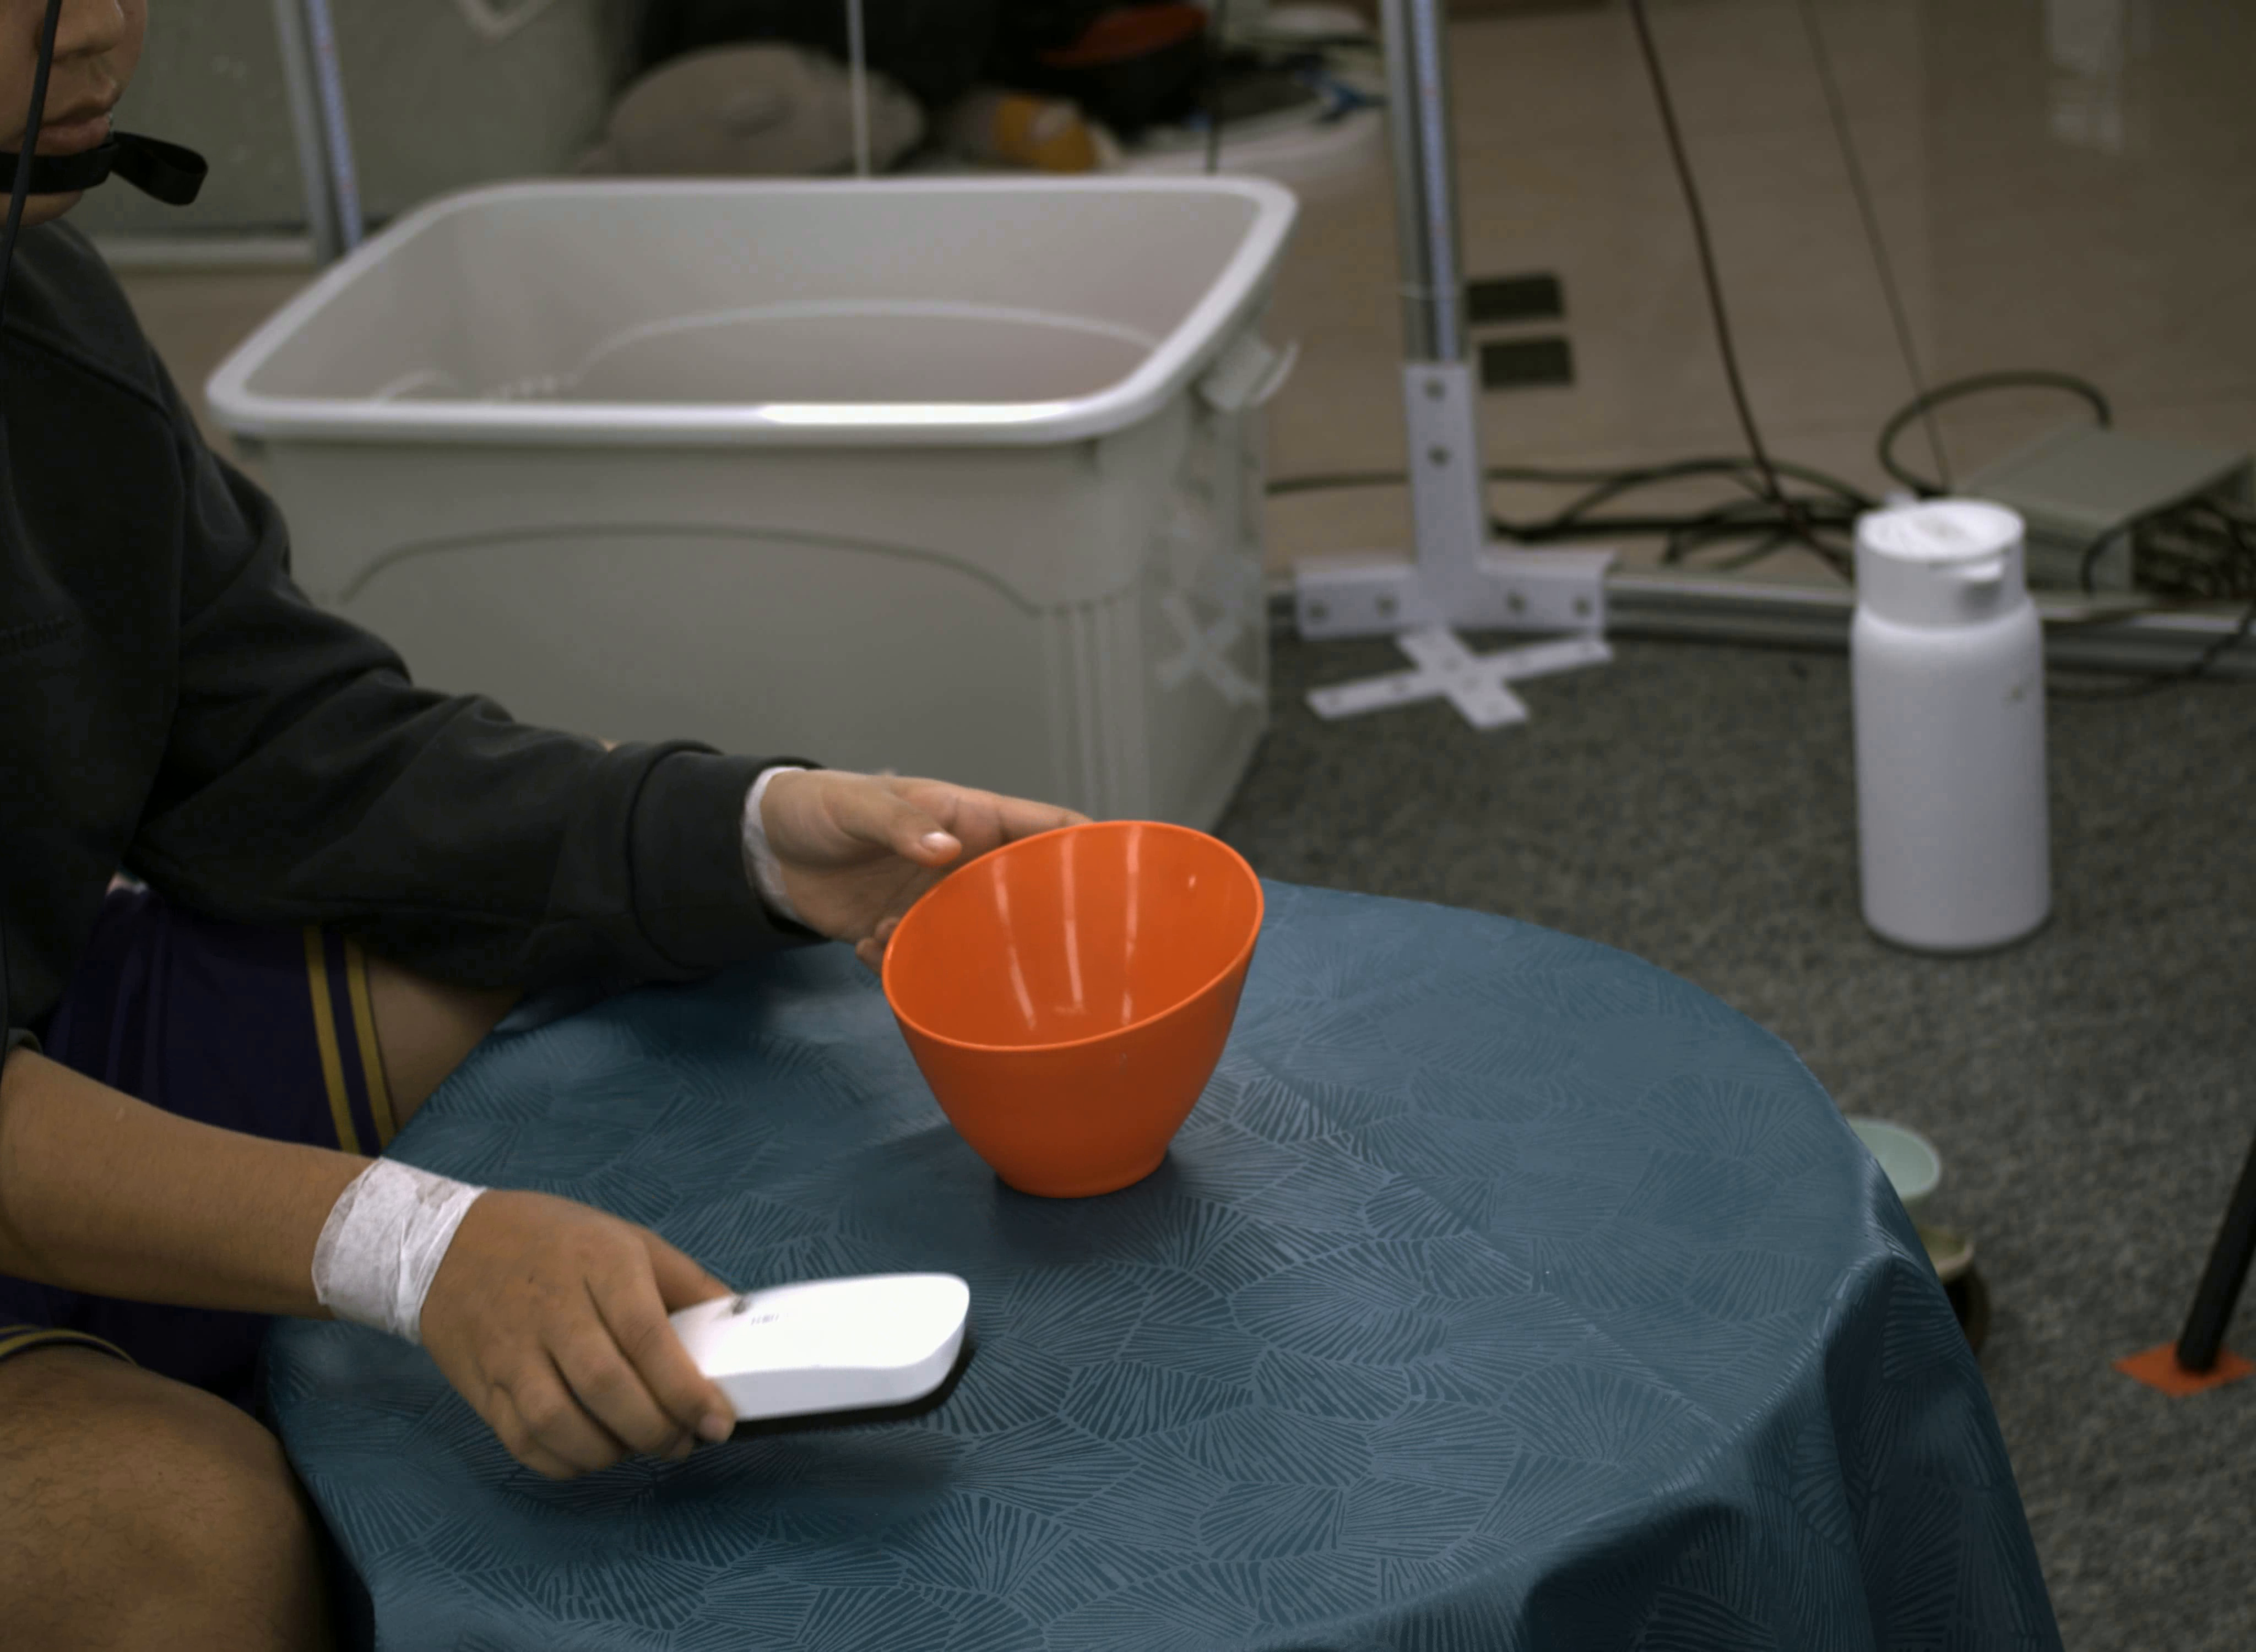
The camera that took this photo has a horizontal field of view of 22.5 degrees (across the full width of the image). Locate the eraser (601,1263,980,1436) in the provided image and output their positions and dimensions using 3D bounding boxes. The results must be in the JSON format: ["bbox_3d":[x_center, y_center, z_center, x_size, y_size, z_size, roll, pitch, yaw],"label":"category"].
[{"bbox_3d":[-0.117,0.181,1.980,0.131,0.035,0.062,-7,23,24],"label":"eraser"}]

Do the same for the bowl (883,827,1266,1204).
[{"bbox_3d":[-0.016,0.079,2.161,0.148,0.106,0.146,-6,26,3],"label":"bowl"}]
